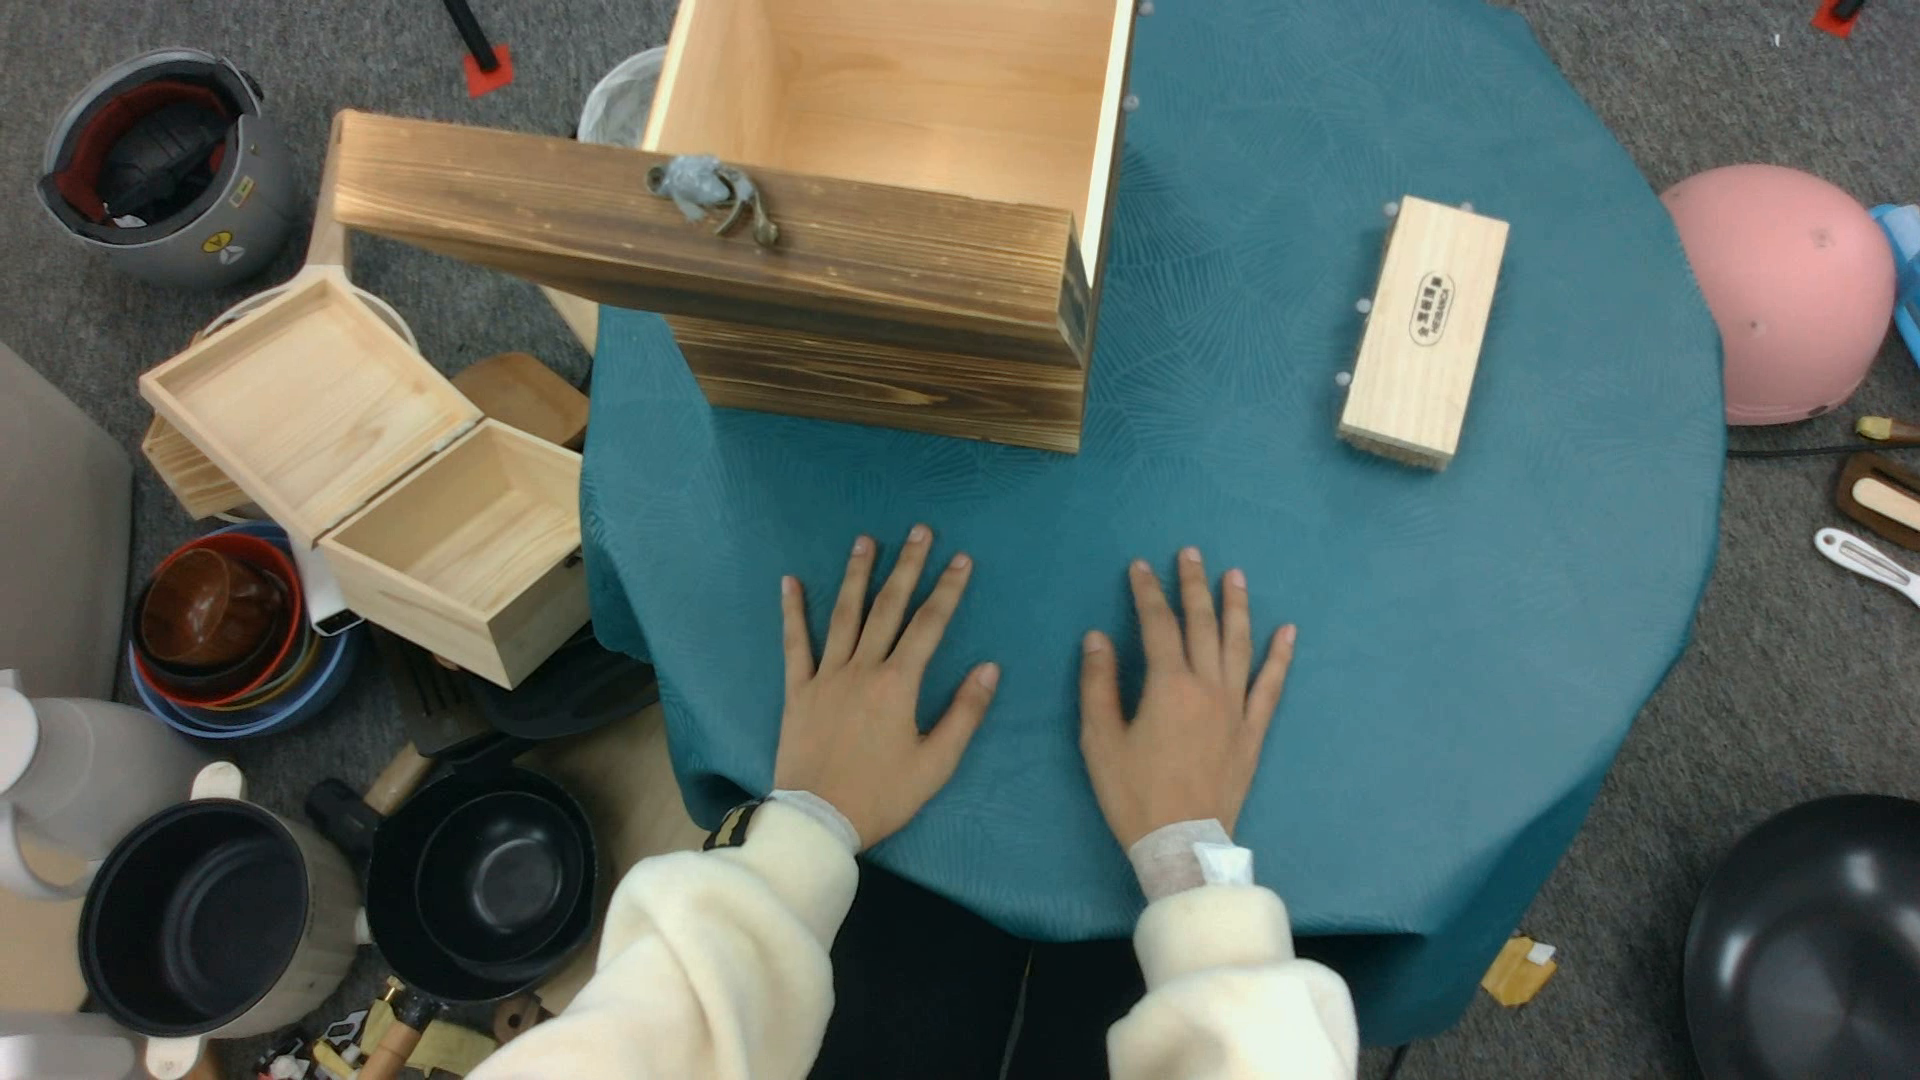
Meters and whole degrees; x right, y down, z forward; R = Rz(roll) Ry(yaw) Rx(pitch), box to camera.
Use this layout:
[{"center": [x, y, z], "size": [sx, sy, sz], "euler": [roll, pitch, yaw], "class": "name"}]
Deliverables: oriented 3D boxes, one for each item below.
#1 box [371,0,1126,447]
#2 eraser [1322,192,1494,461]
[{"center": [-0.039, -0.171, 0.576], "size": [0.208, 0.374, 0.323], "euler": [8, 69, 4], "class": "box"}, {"center": [0.234, -0.112, 0.722], "size": [0.057, 0.029, 0.140], "euler": [19, 72, 6], "class": "eraser"}]
